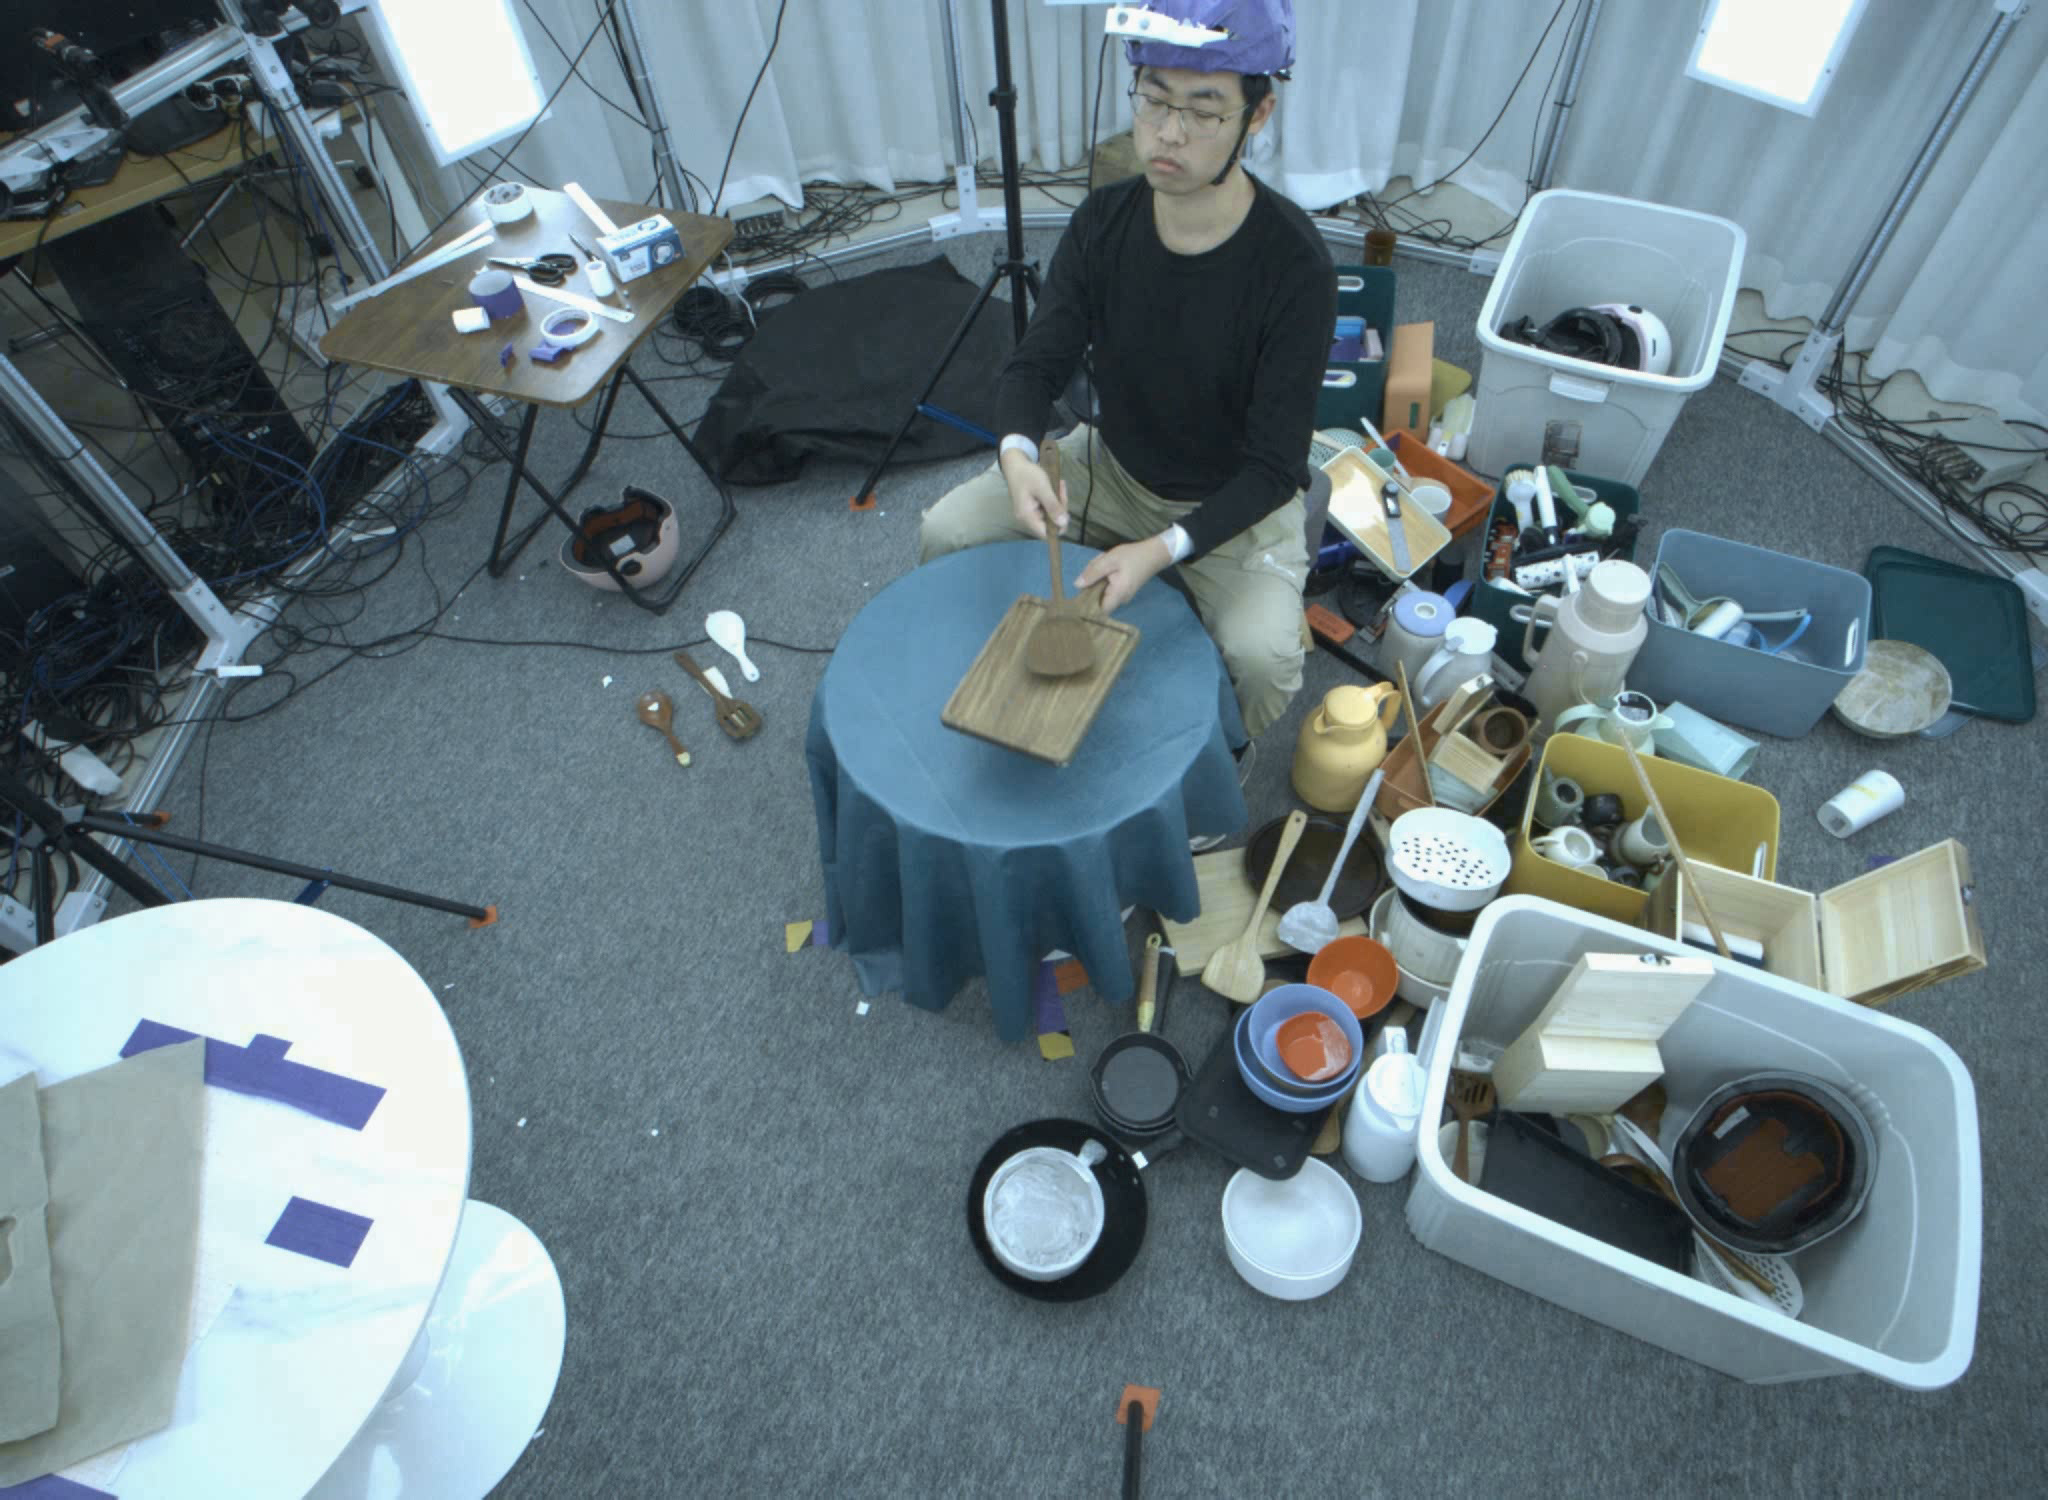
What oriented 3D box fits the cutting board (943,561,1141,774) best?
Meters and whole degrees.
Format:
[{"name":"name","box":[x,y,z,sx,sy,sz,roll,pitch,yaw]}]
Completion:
[{"name":"cutting board","box":[0.049,-0.136,1.738,0.198,0.023,0.352,20,62,18]}]

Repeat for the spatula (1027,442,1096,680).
[{"name":"spatula","box":[0.042,-0.279,1.747,0.096,0.016,0.383,-5,72,4]}]
